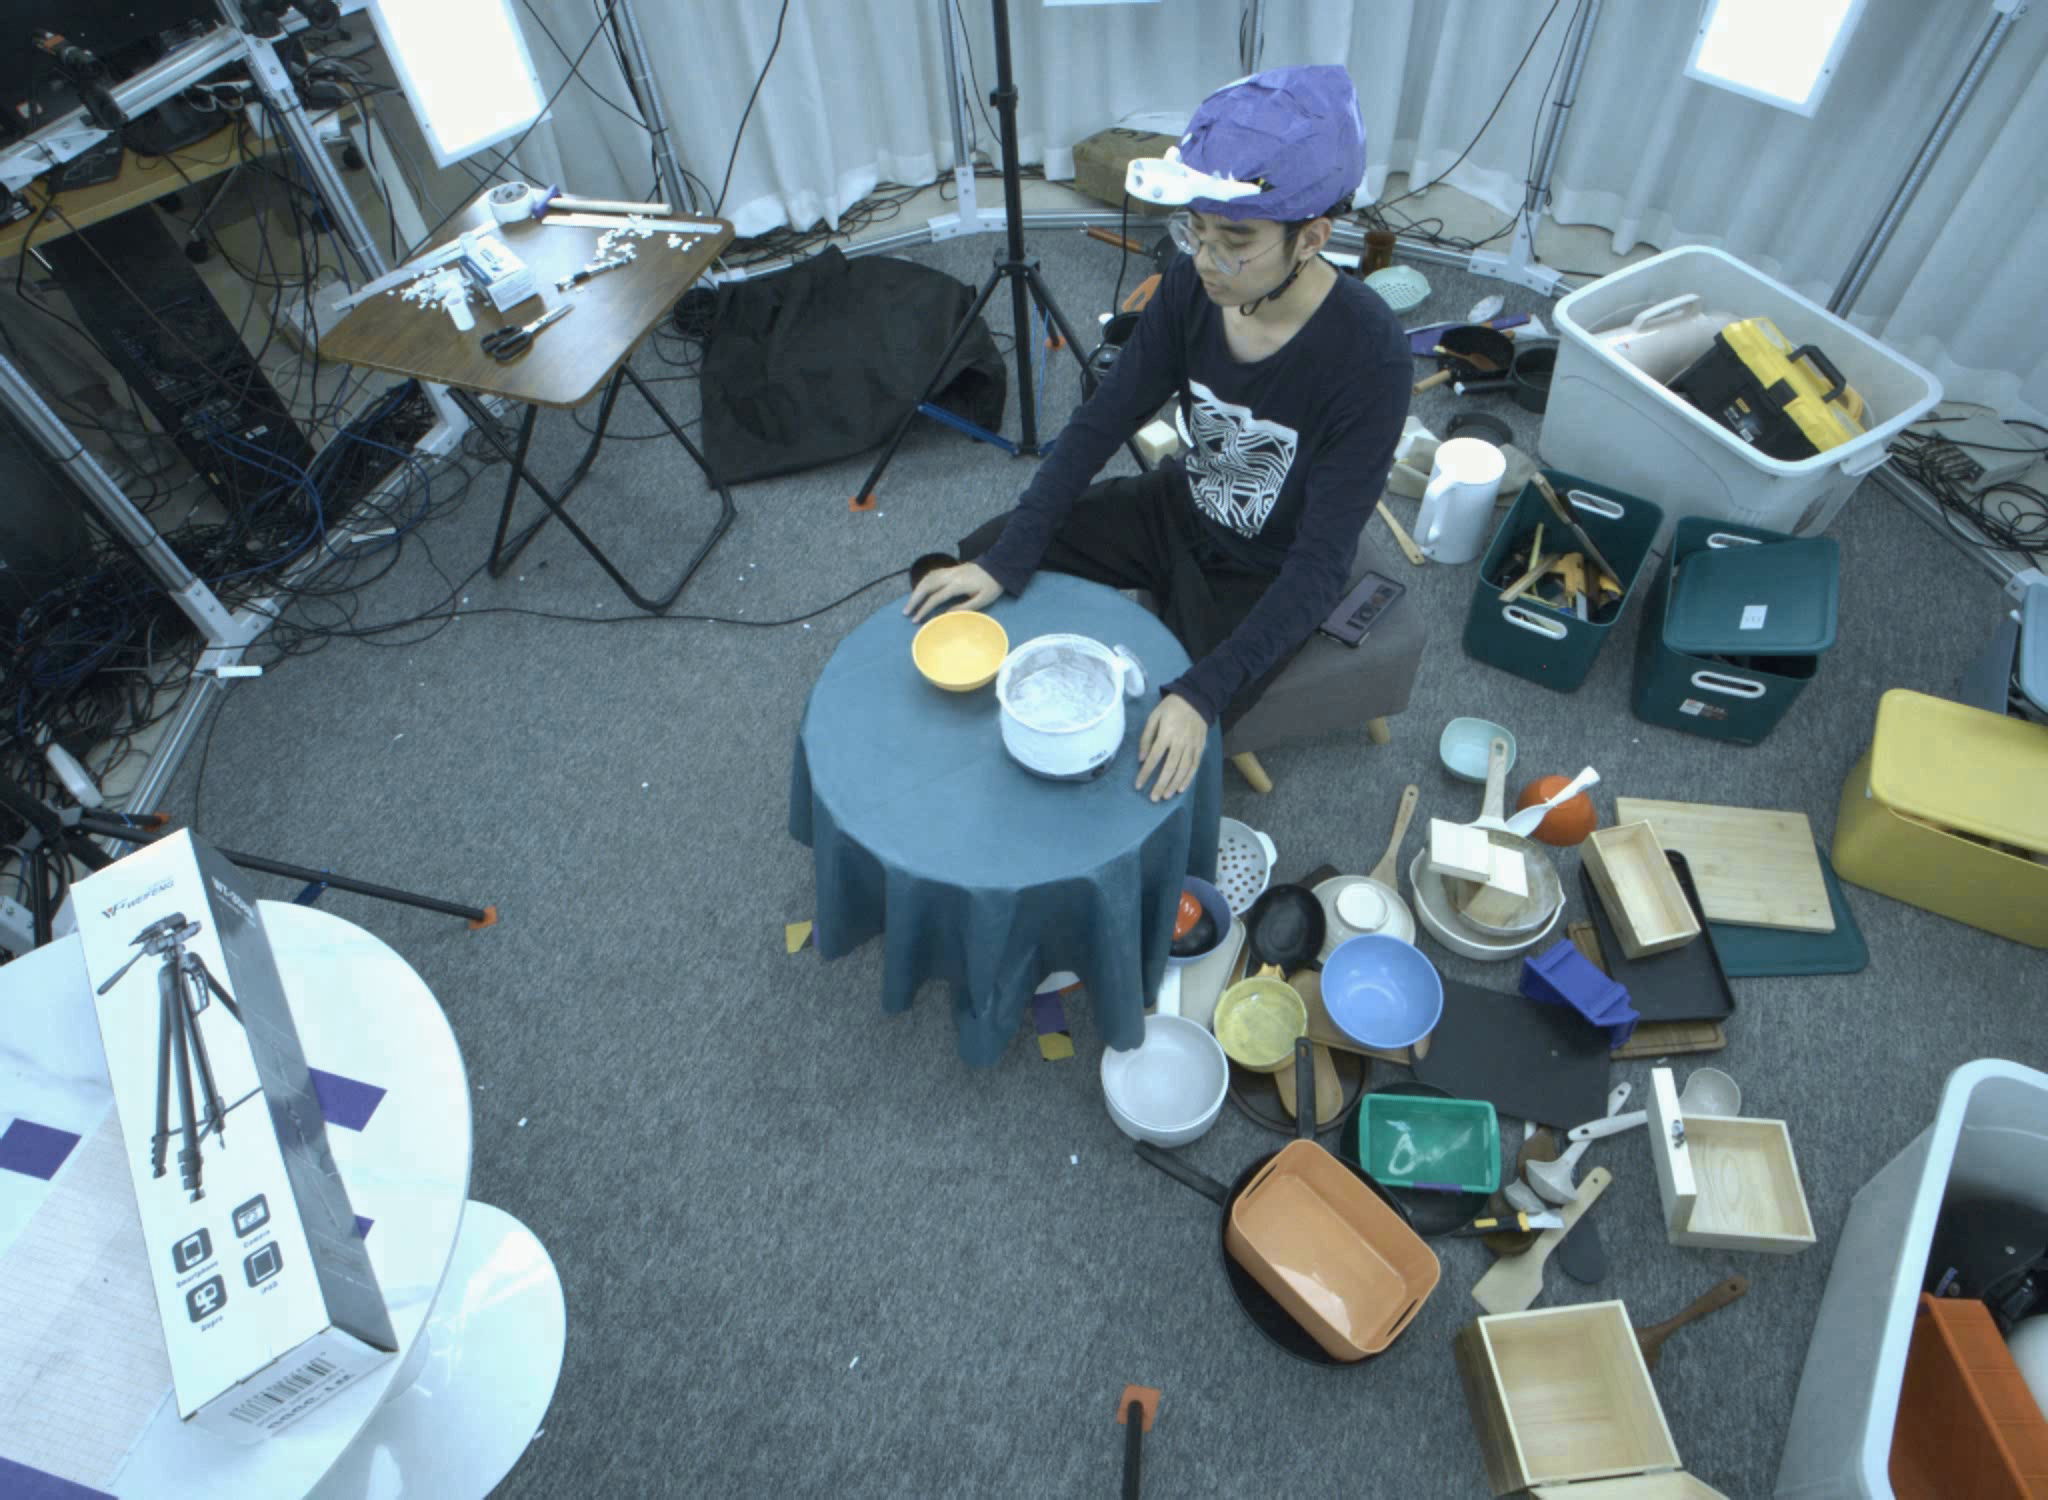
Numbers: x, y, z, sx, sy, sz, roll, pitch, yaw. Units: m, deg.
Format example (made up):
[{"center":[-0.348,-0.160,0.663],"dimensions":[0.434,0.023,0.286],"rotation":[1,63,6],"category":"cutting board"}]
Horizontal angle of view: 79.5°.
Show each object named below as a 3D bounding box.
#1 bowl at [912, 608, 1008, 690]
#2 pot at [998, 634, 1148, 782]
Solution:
[{"center":[-0.095,-0.141,1.860],"dimensions":[0.145,0.061,0.144],"rotation":[-1,56,2],"category":"bowl"},{"center":[0.077,-0.069,1.761],"dimensions":[0.236,0.138,0.175],"rotation":[-30,58,-20],"category":"pot"}]
